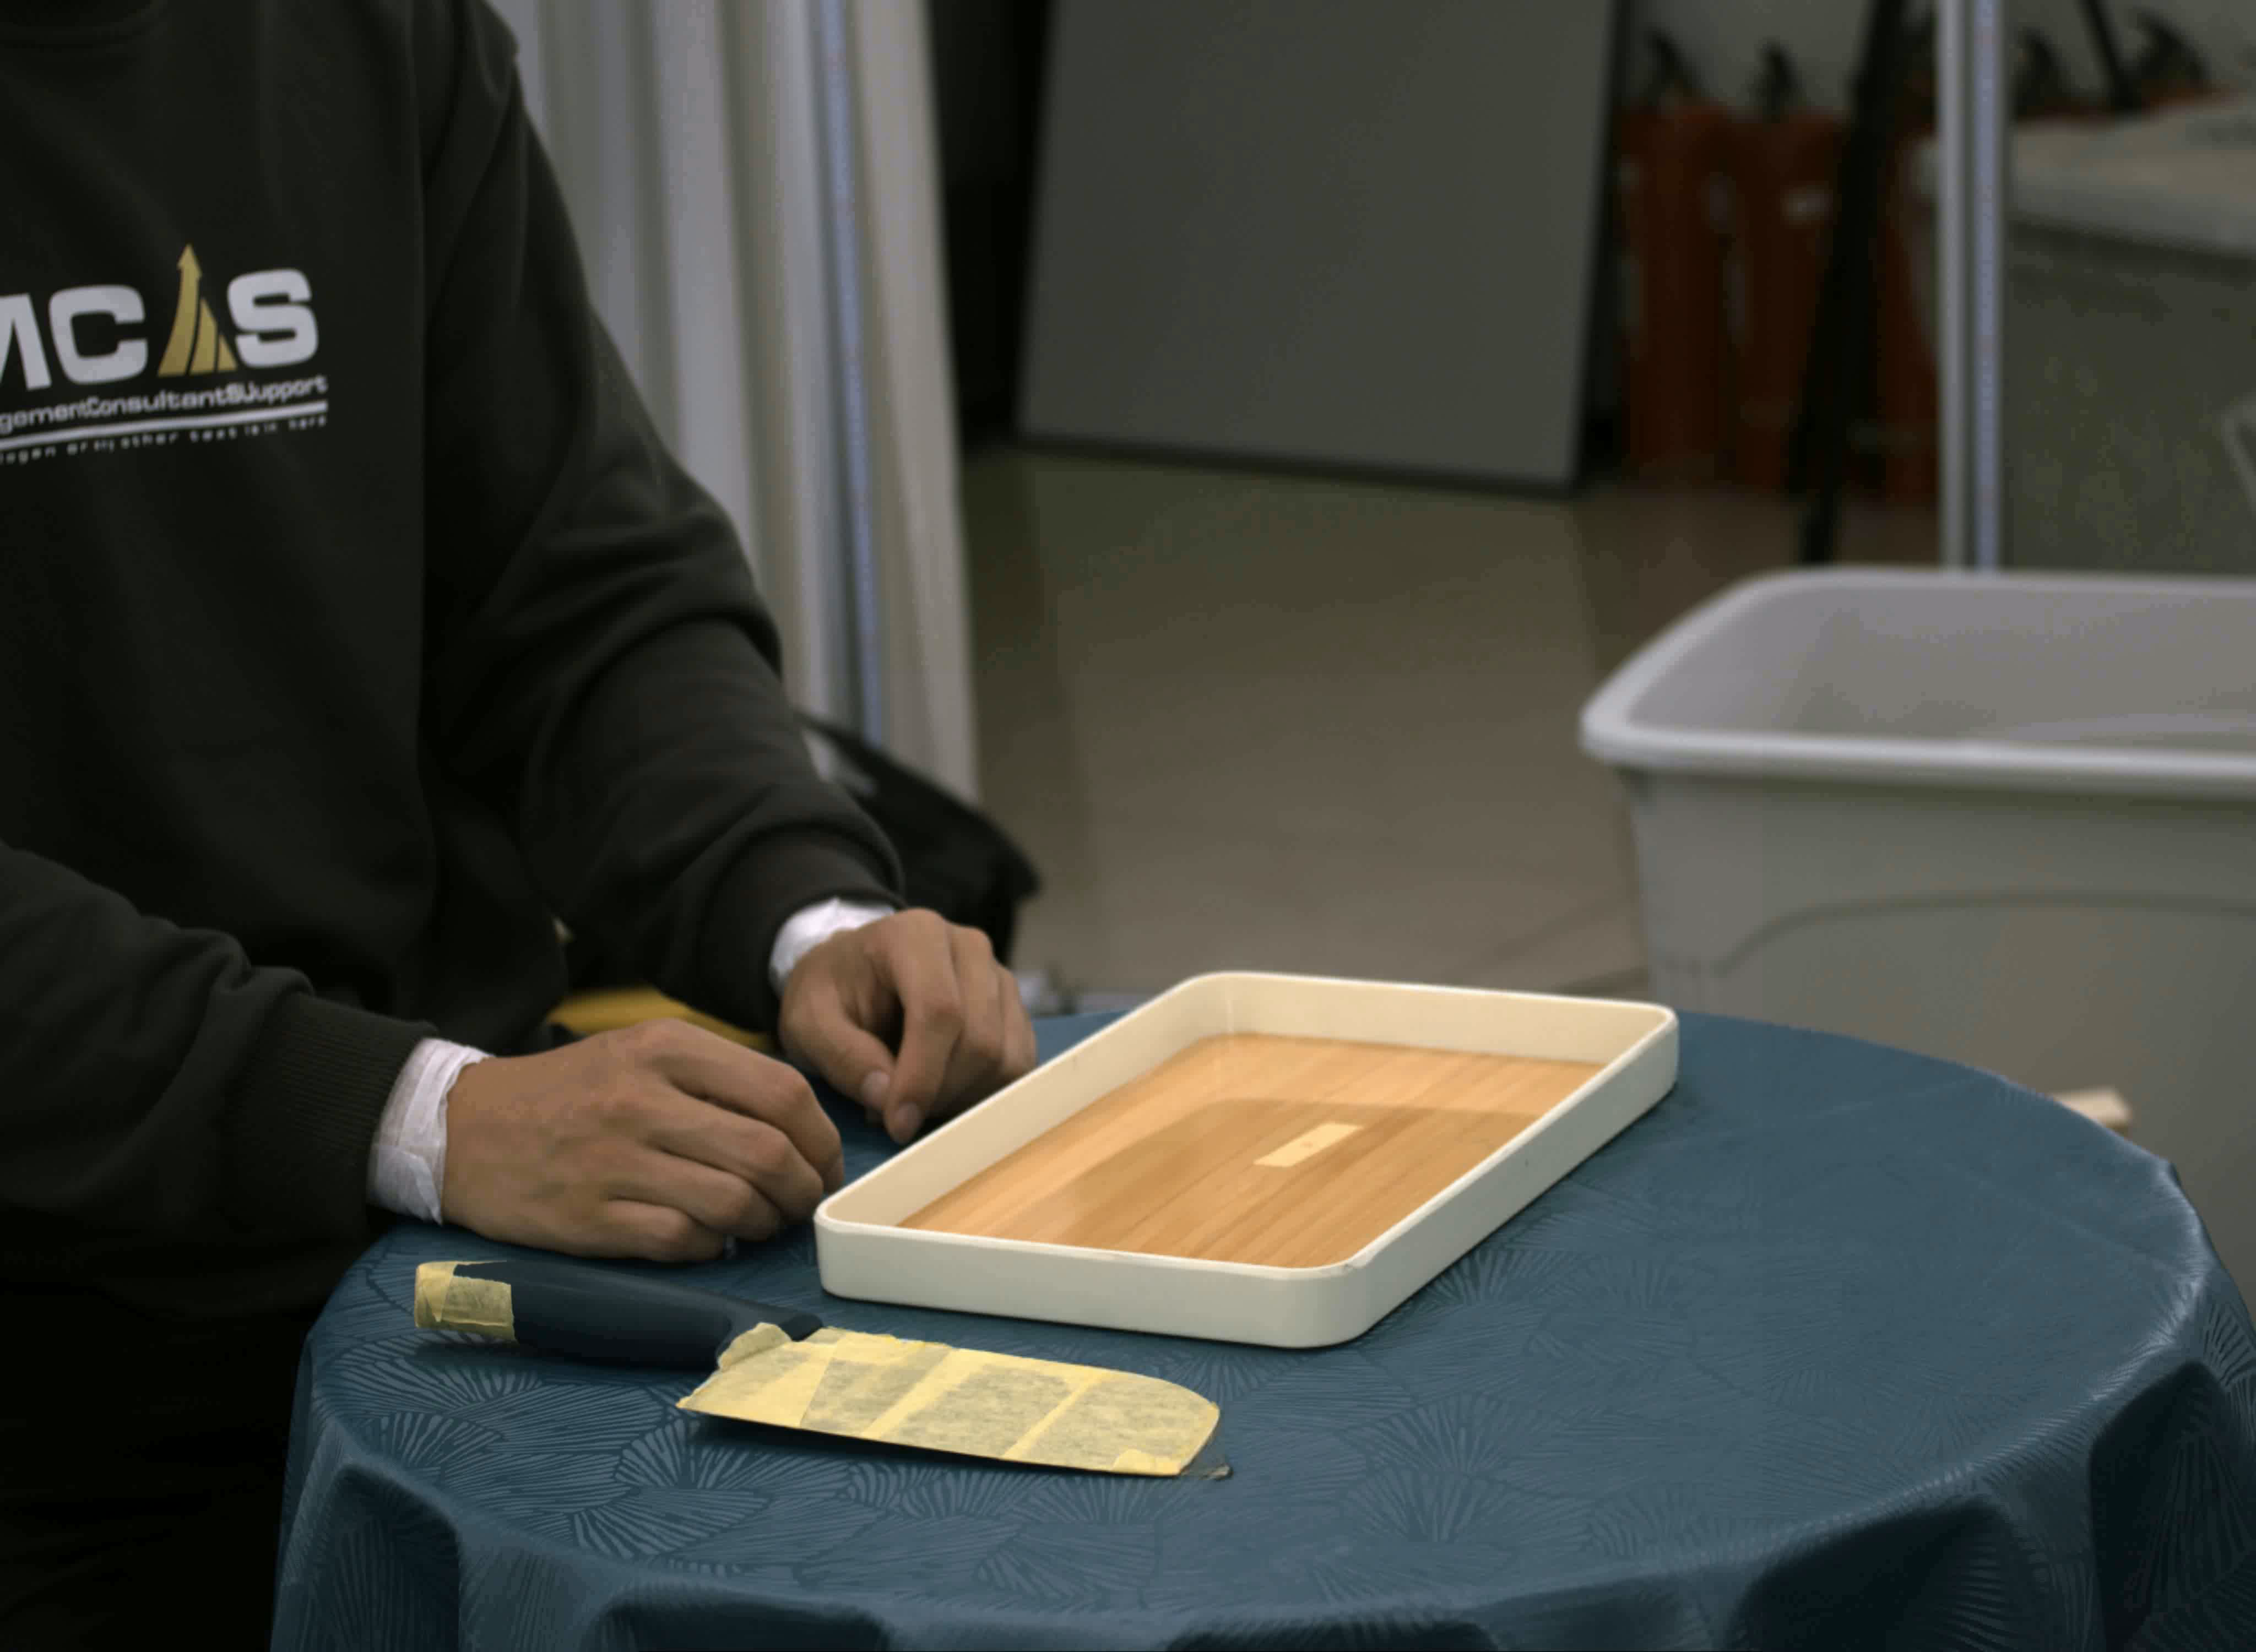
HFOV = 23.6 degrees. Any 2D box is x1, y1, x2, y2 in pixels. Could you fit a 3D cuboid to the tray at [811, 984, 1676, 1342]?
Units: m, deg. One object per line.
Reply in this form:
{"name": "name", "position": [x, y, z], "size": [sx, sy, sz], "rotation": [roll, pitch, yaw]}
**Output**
{"name": "tray", "position": [0.045, 0.106, 1.769], "size": [0.192, 0.028, 0.296], "rotation": [2, 14, 28]}

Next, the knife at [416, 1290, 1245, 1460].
{"name": "knife", "position": [-0.095, 0.165, 1.594], "size": [0.290, 0.027, 0.080], "rotation": [4, 14, 28]}
